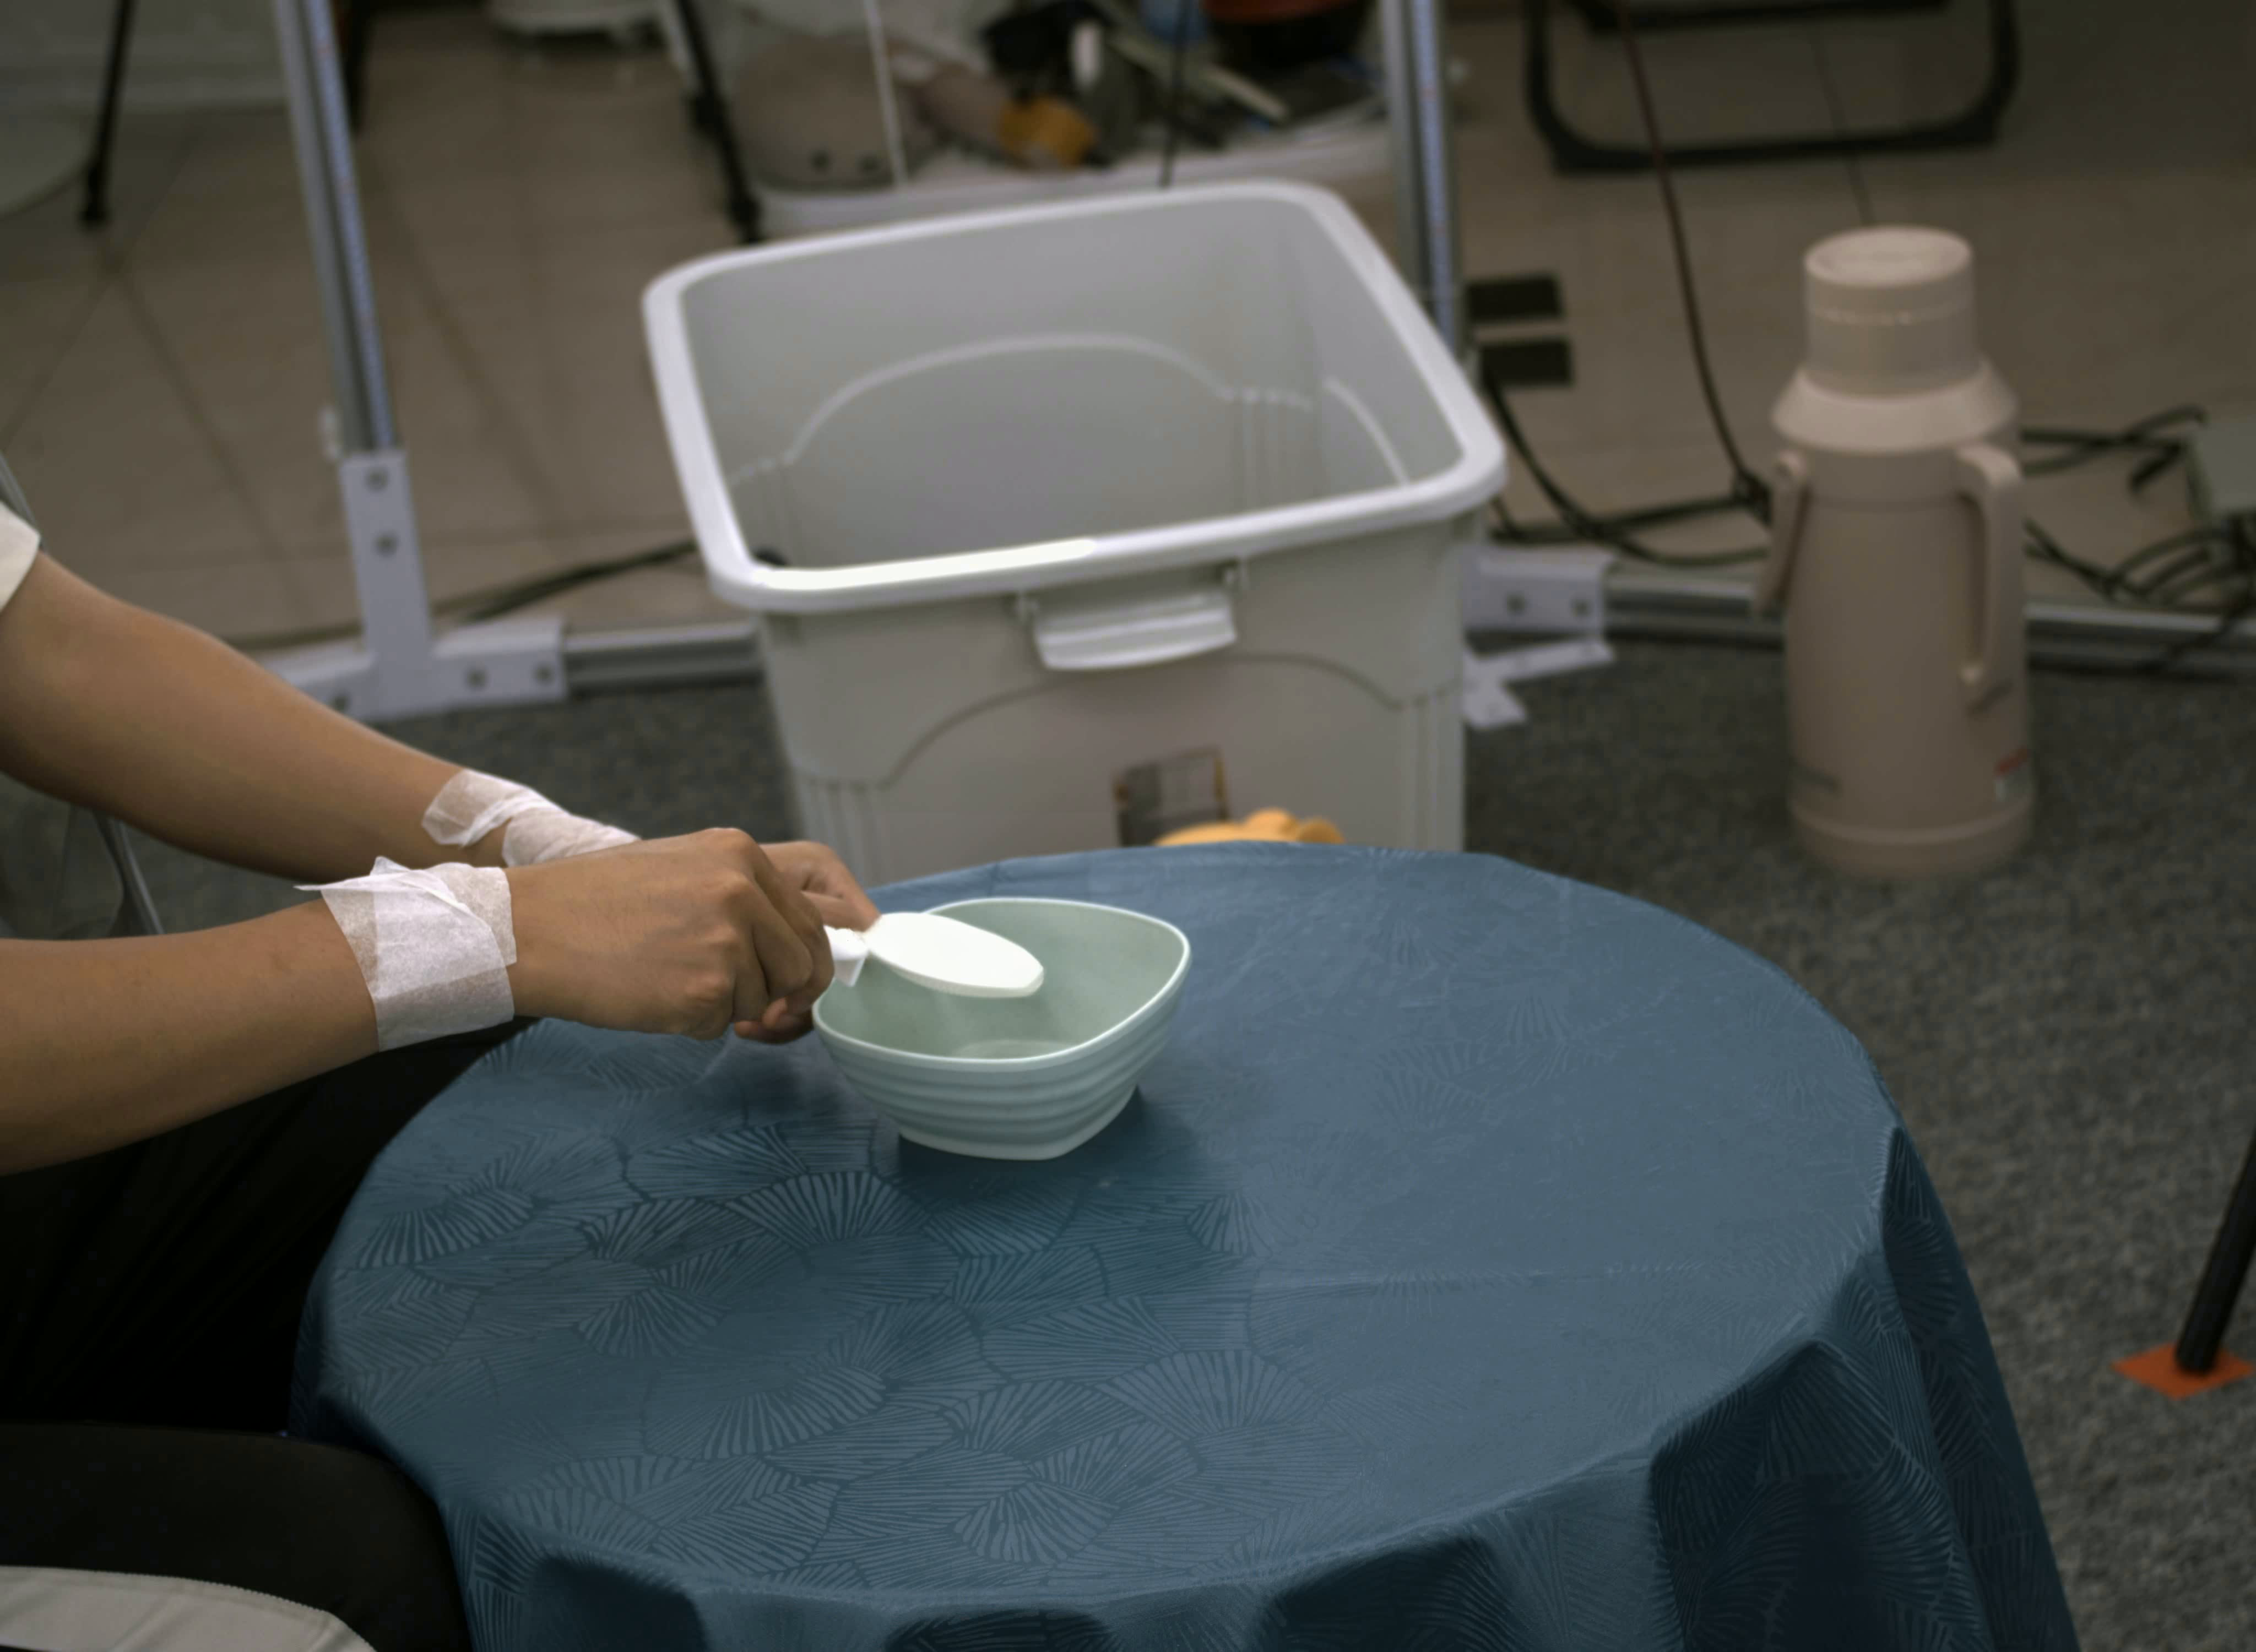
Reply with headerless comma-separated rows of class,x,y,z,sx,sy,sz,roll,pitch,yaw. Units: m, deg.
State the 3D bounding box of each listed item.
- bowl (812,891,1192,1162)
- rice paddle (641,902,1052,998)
bowl,-0.047,0.084,2.213,0.151,0.059,0.149,-4,27,2
rice paddle,-0.103,0.046,2.166,0.068,0.030,0.205,34,19,36
